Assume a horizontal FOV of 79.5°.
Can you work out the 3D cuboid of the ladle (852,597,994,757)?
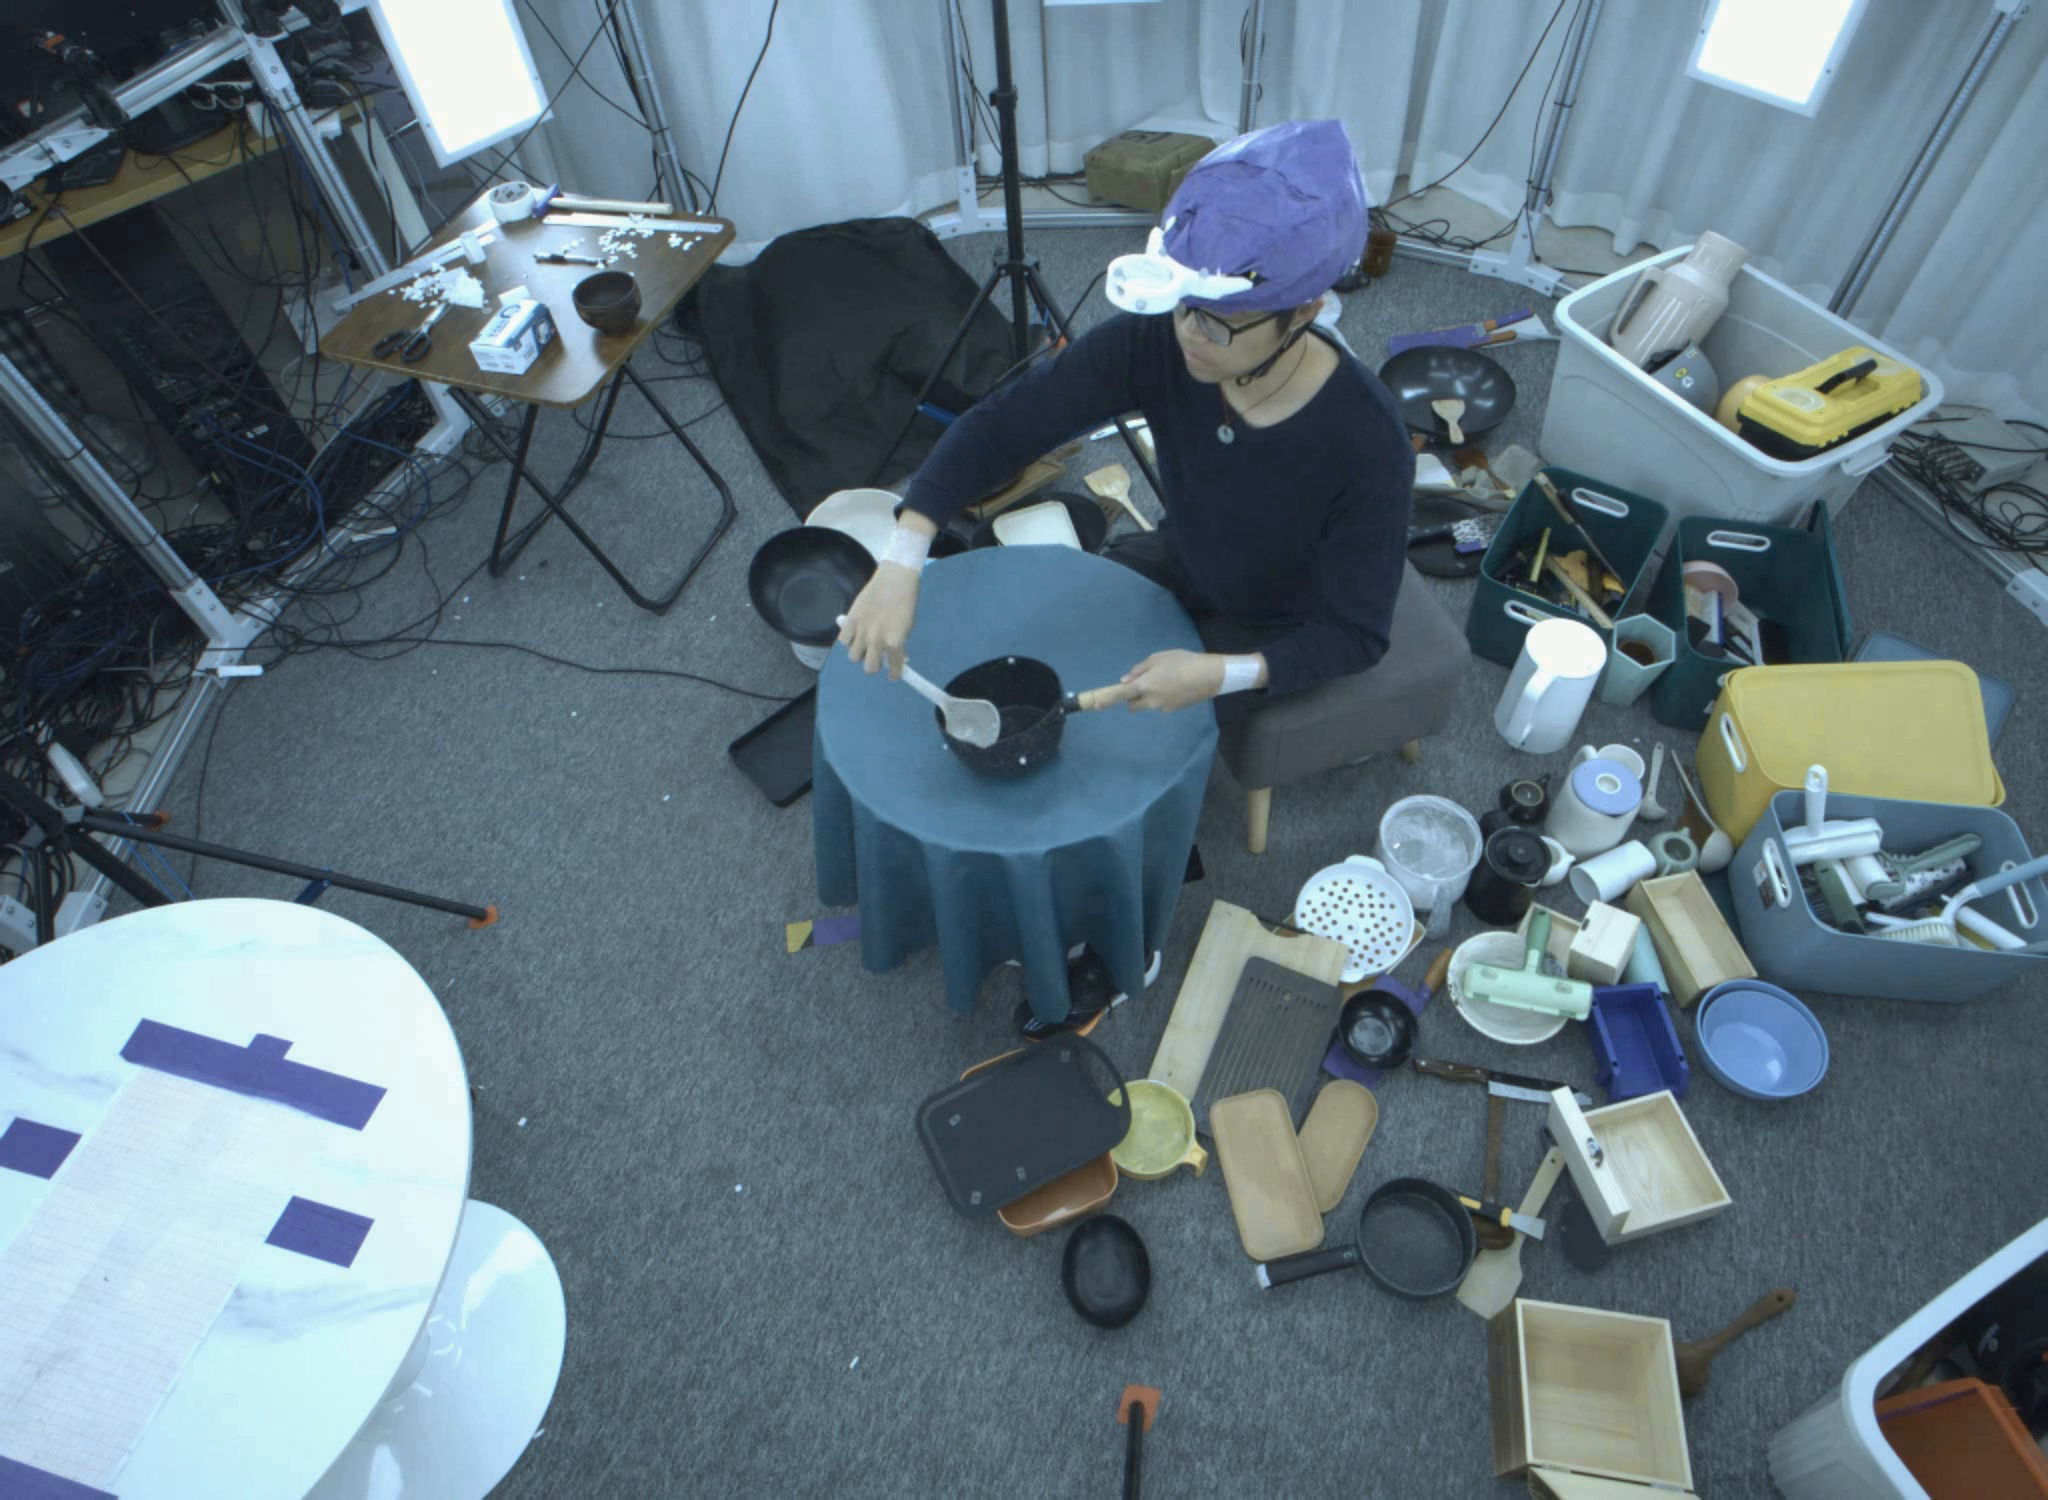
[{"bbox_3d":[-0.143,-0.095,1.655,0.088,0.281,0.068,-25,40,24],"label":"ladle"}]

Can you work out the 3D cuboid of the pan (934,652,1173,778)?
[{"bbox_3d":[0.046,-0.055,1.721,0.339,0.110,0.206,-4,42,15],"label":"pan"}]
